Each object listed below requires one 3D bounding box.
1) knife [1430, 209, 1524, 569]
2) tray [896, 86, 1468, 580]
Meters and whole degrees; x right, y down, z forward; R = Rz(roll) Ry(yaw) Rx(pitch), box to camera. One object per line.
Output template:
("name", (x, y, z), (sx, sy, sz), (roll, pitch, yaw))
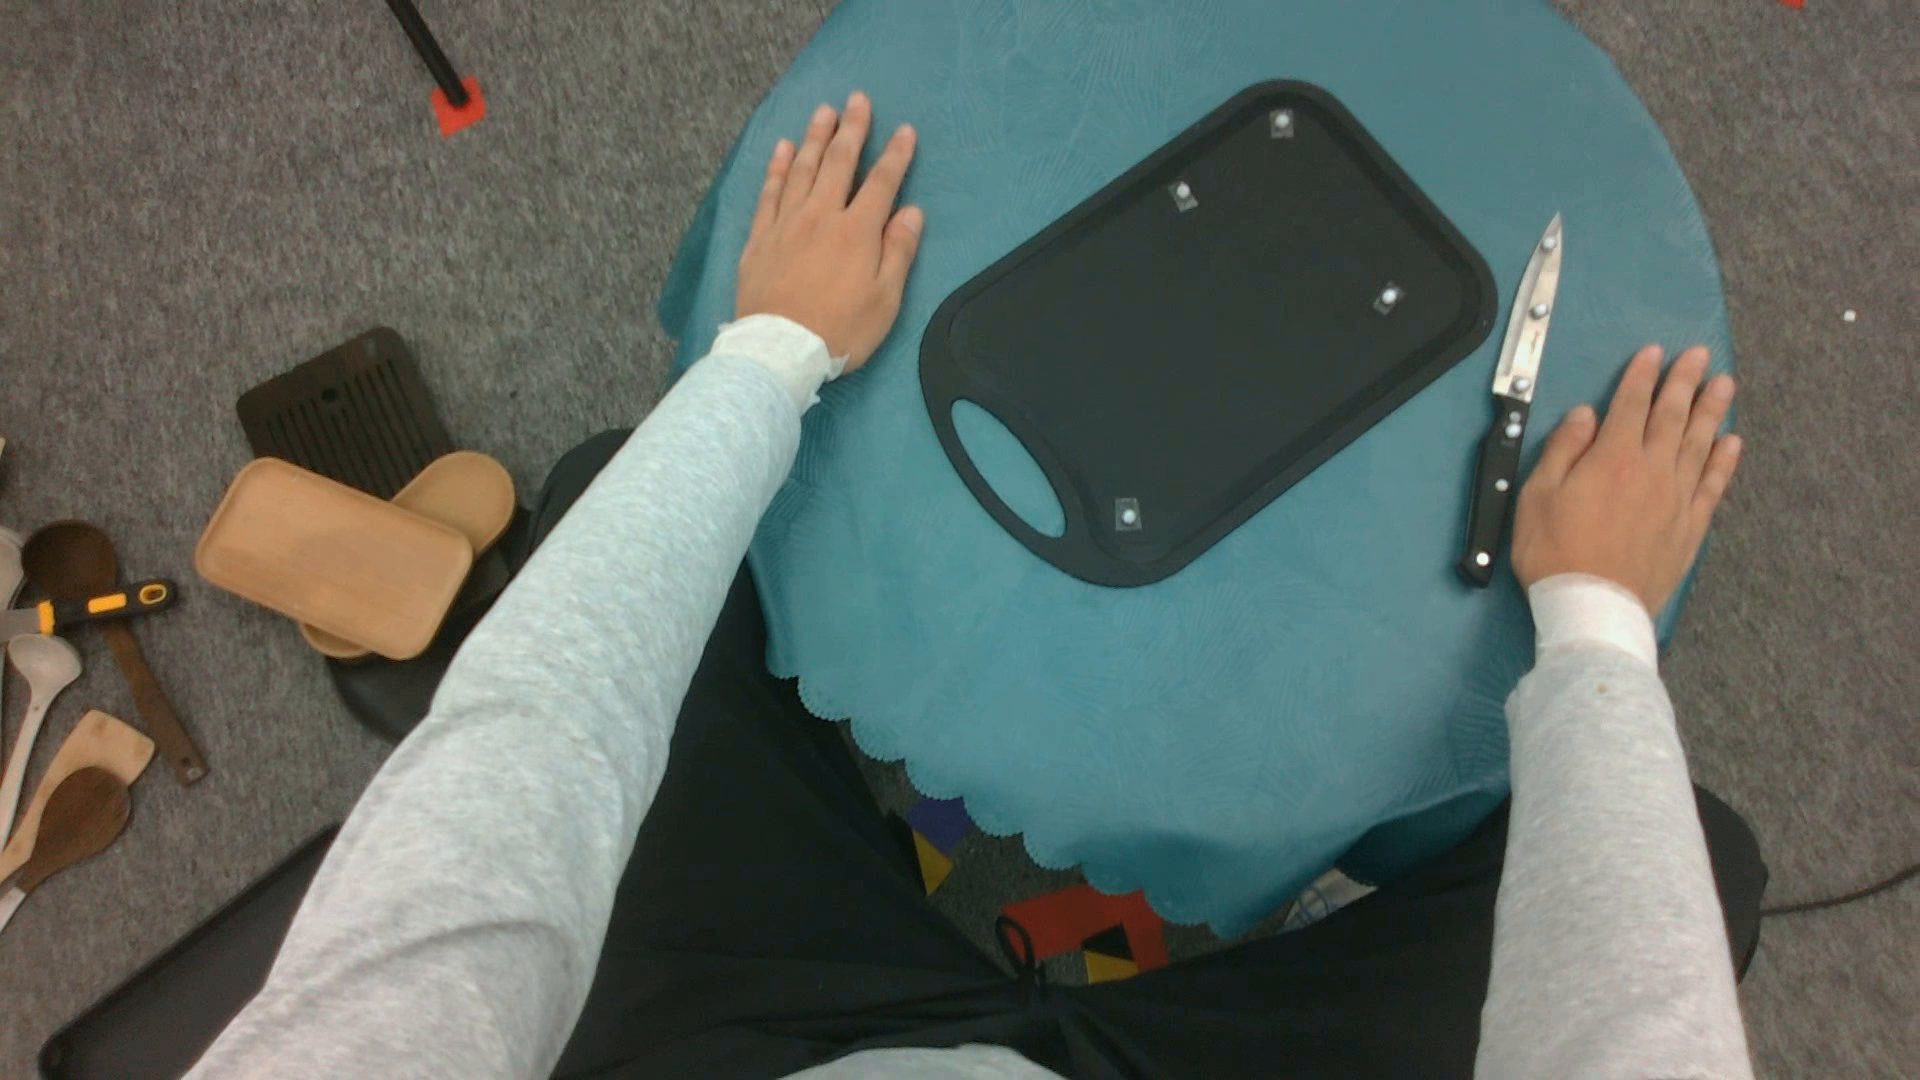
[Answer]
("knife", (0.302, -0.091, 0.788), (0.024, 0.016, 0.239), (18, 71, 2))
("tray", (0.125, -0.123, 0.797), (0.326, 0.010, 0.211), (-35, 77, -10))
